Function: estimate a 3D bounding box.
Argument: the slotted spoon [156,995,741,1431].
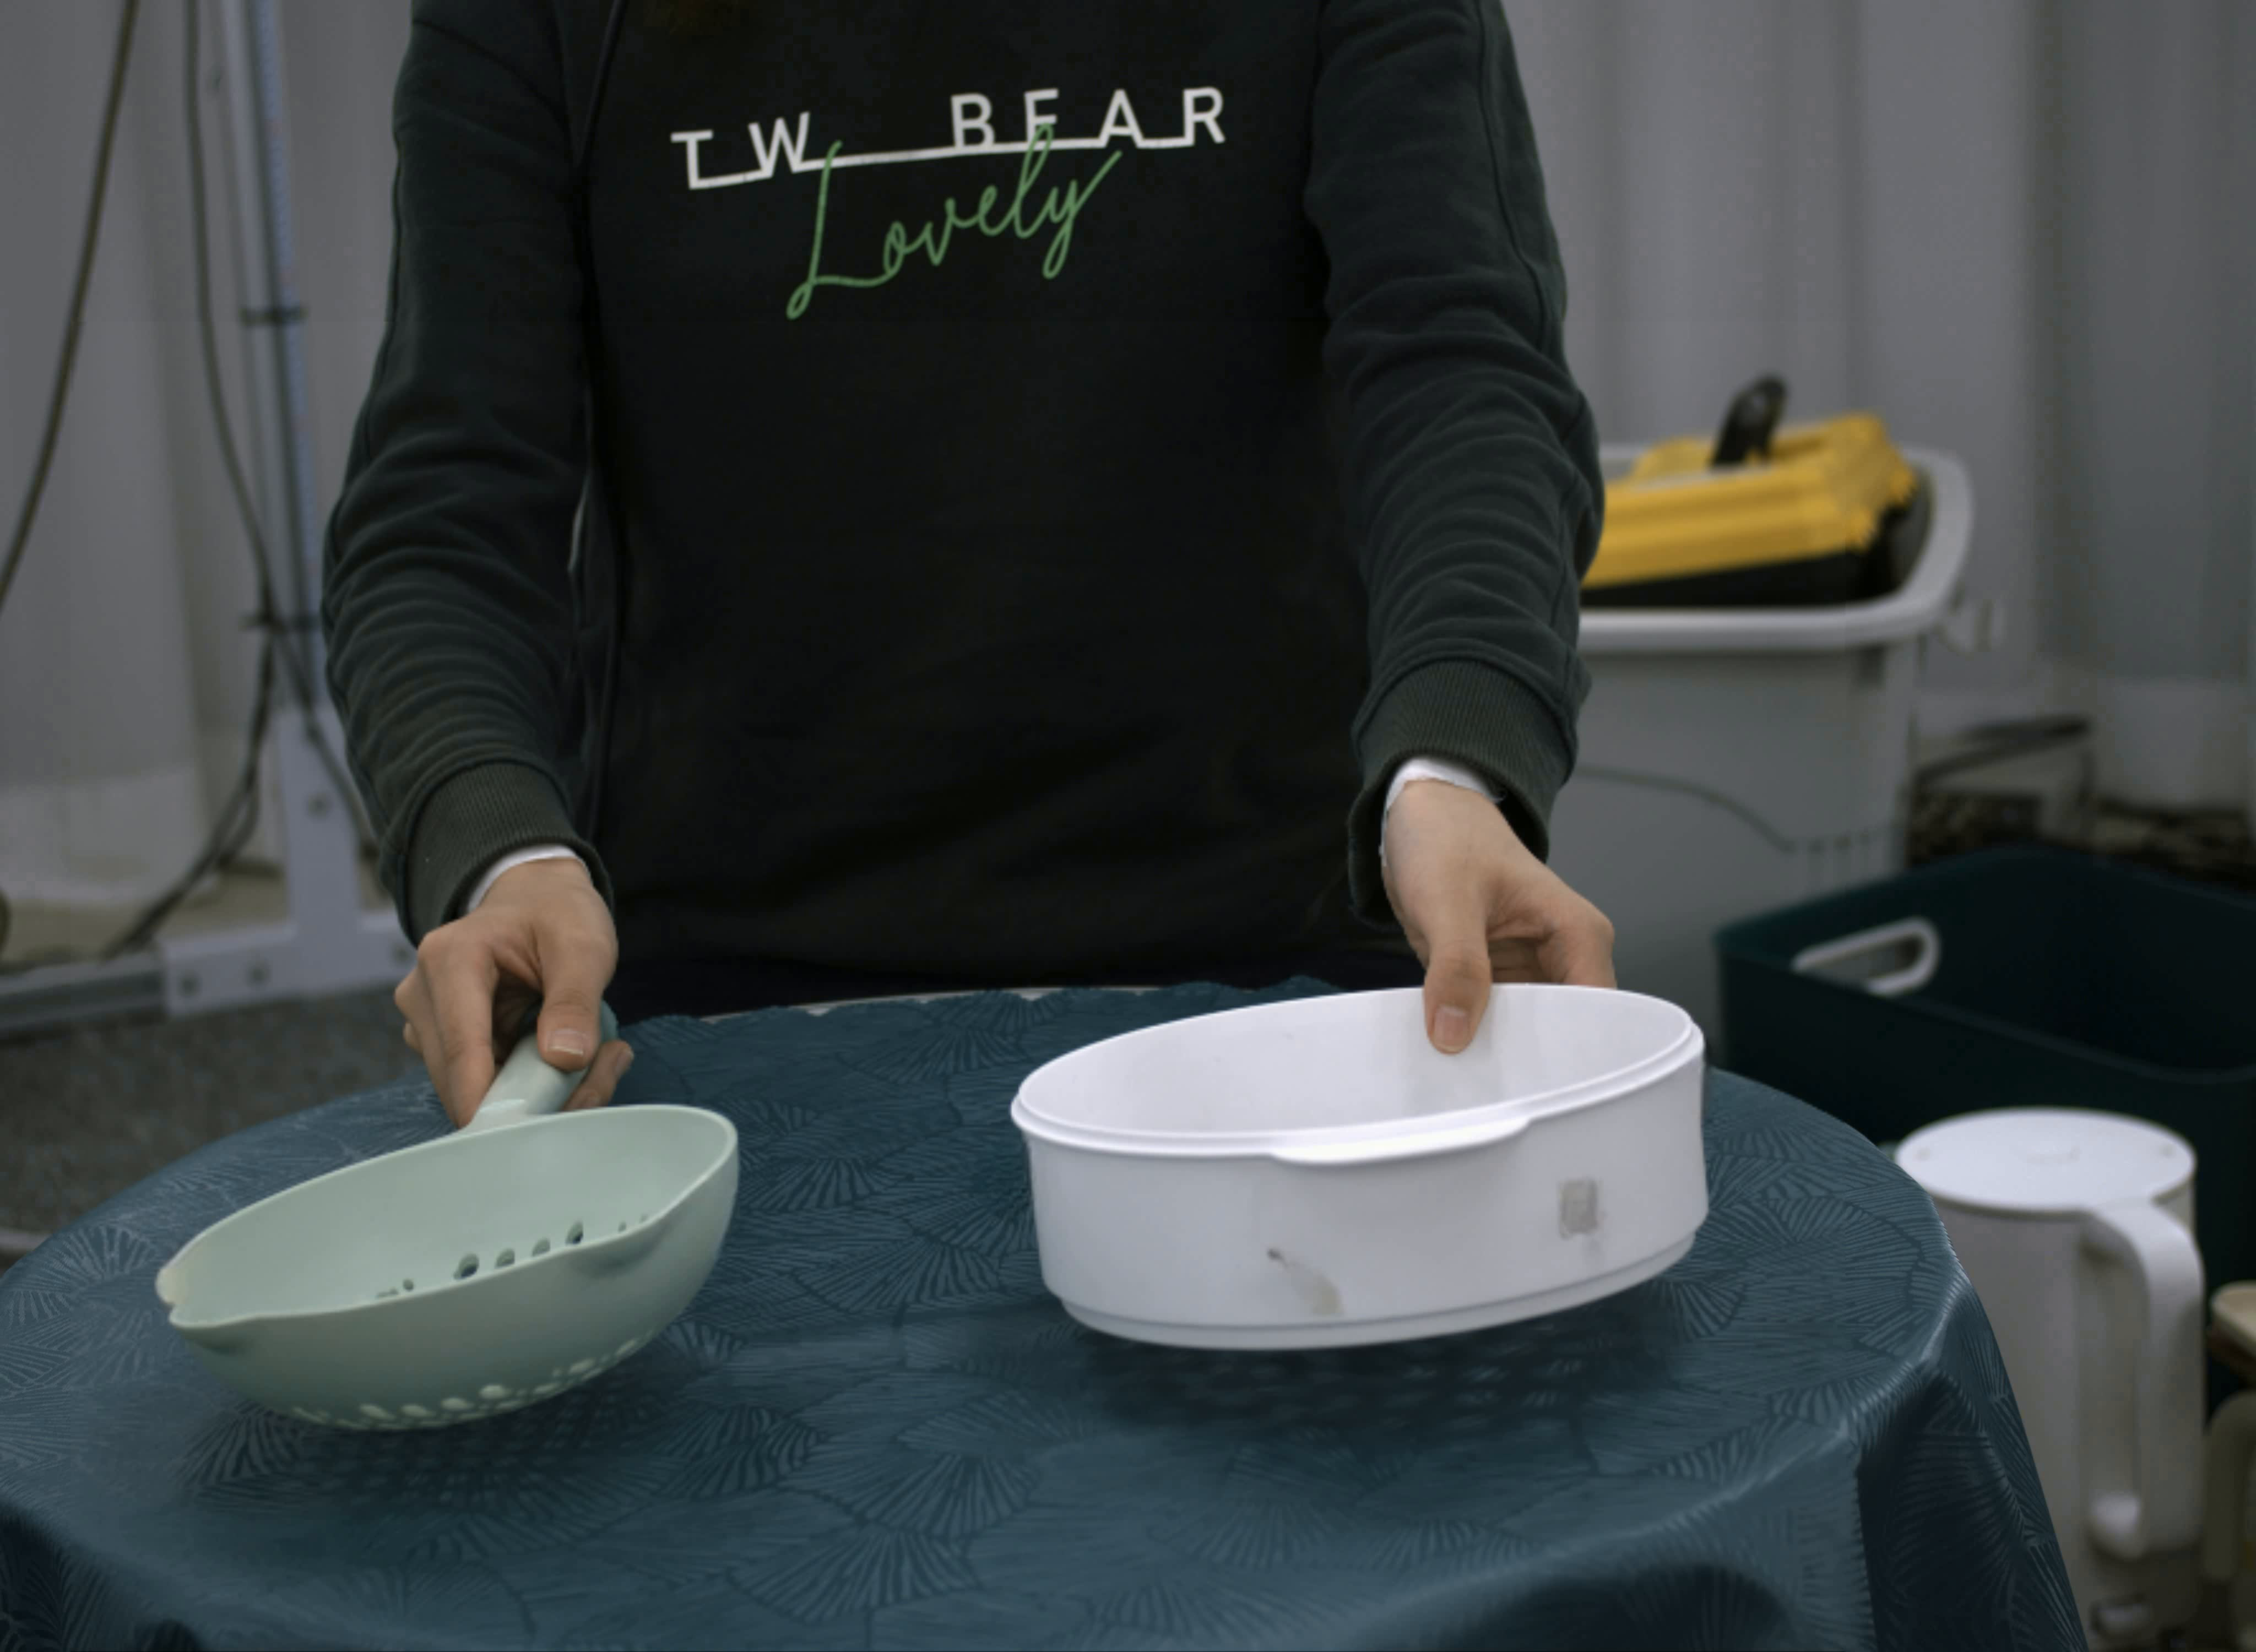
[{"bbox_3d":[-0.185,0.099,1.638,0.169,0.075,0.362,-12,19,4],"label":"slotted spoon"}]

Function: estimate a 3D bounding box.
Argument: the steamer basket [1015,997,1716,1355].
[{"bbox_3d":[0.070,0.100,1.568,0.201,0.069,0.231,-6,8,-5],"label":"steamer basket"}]
